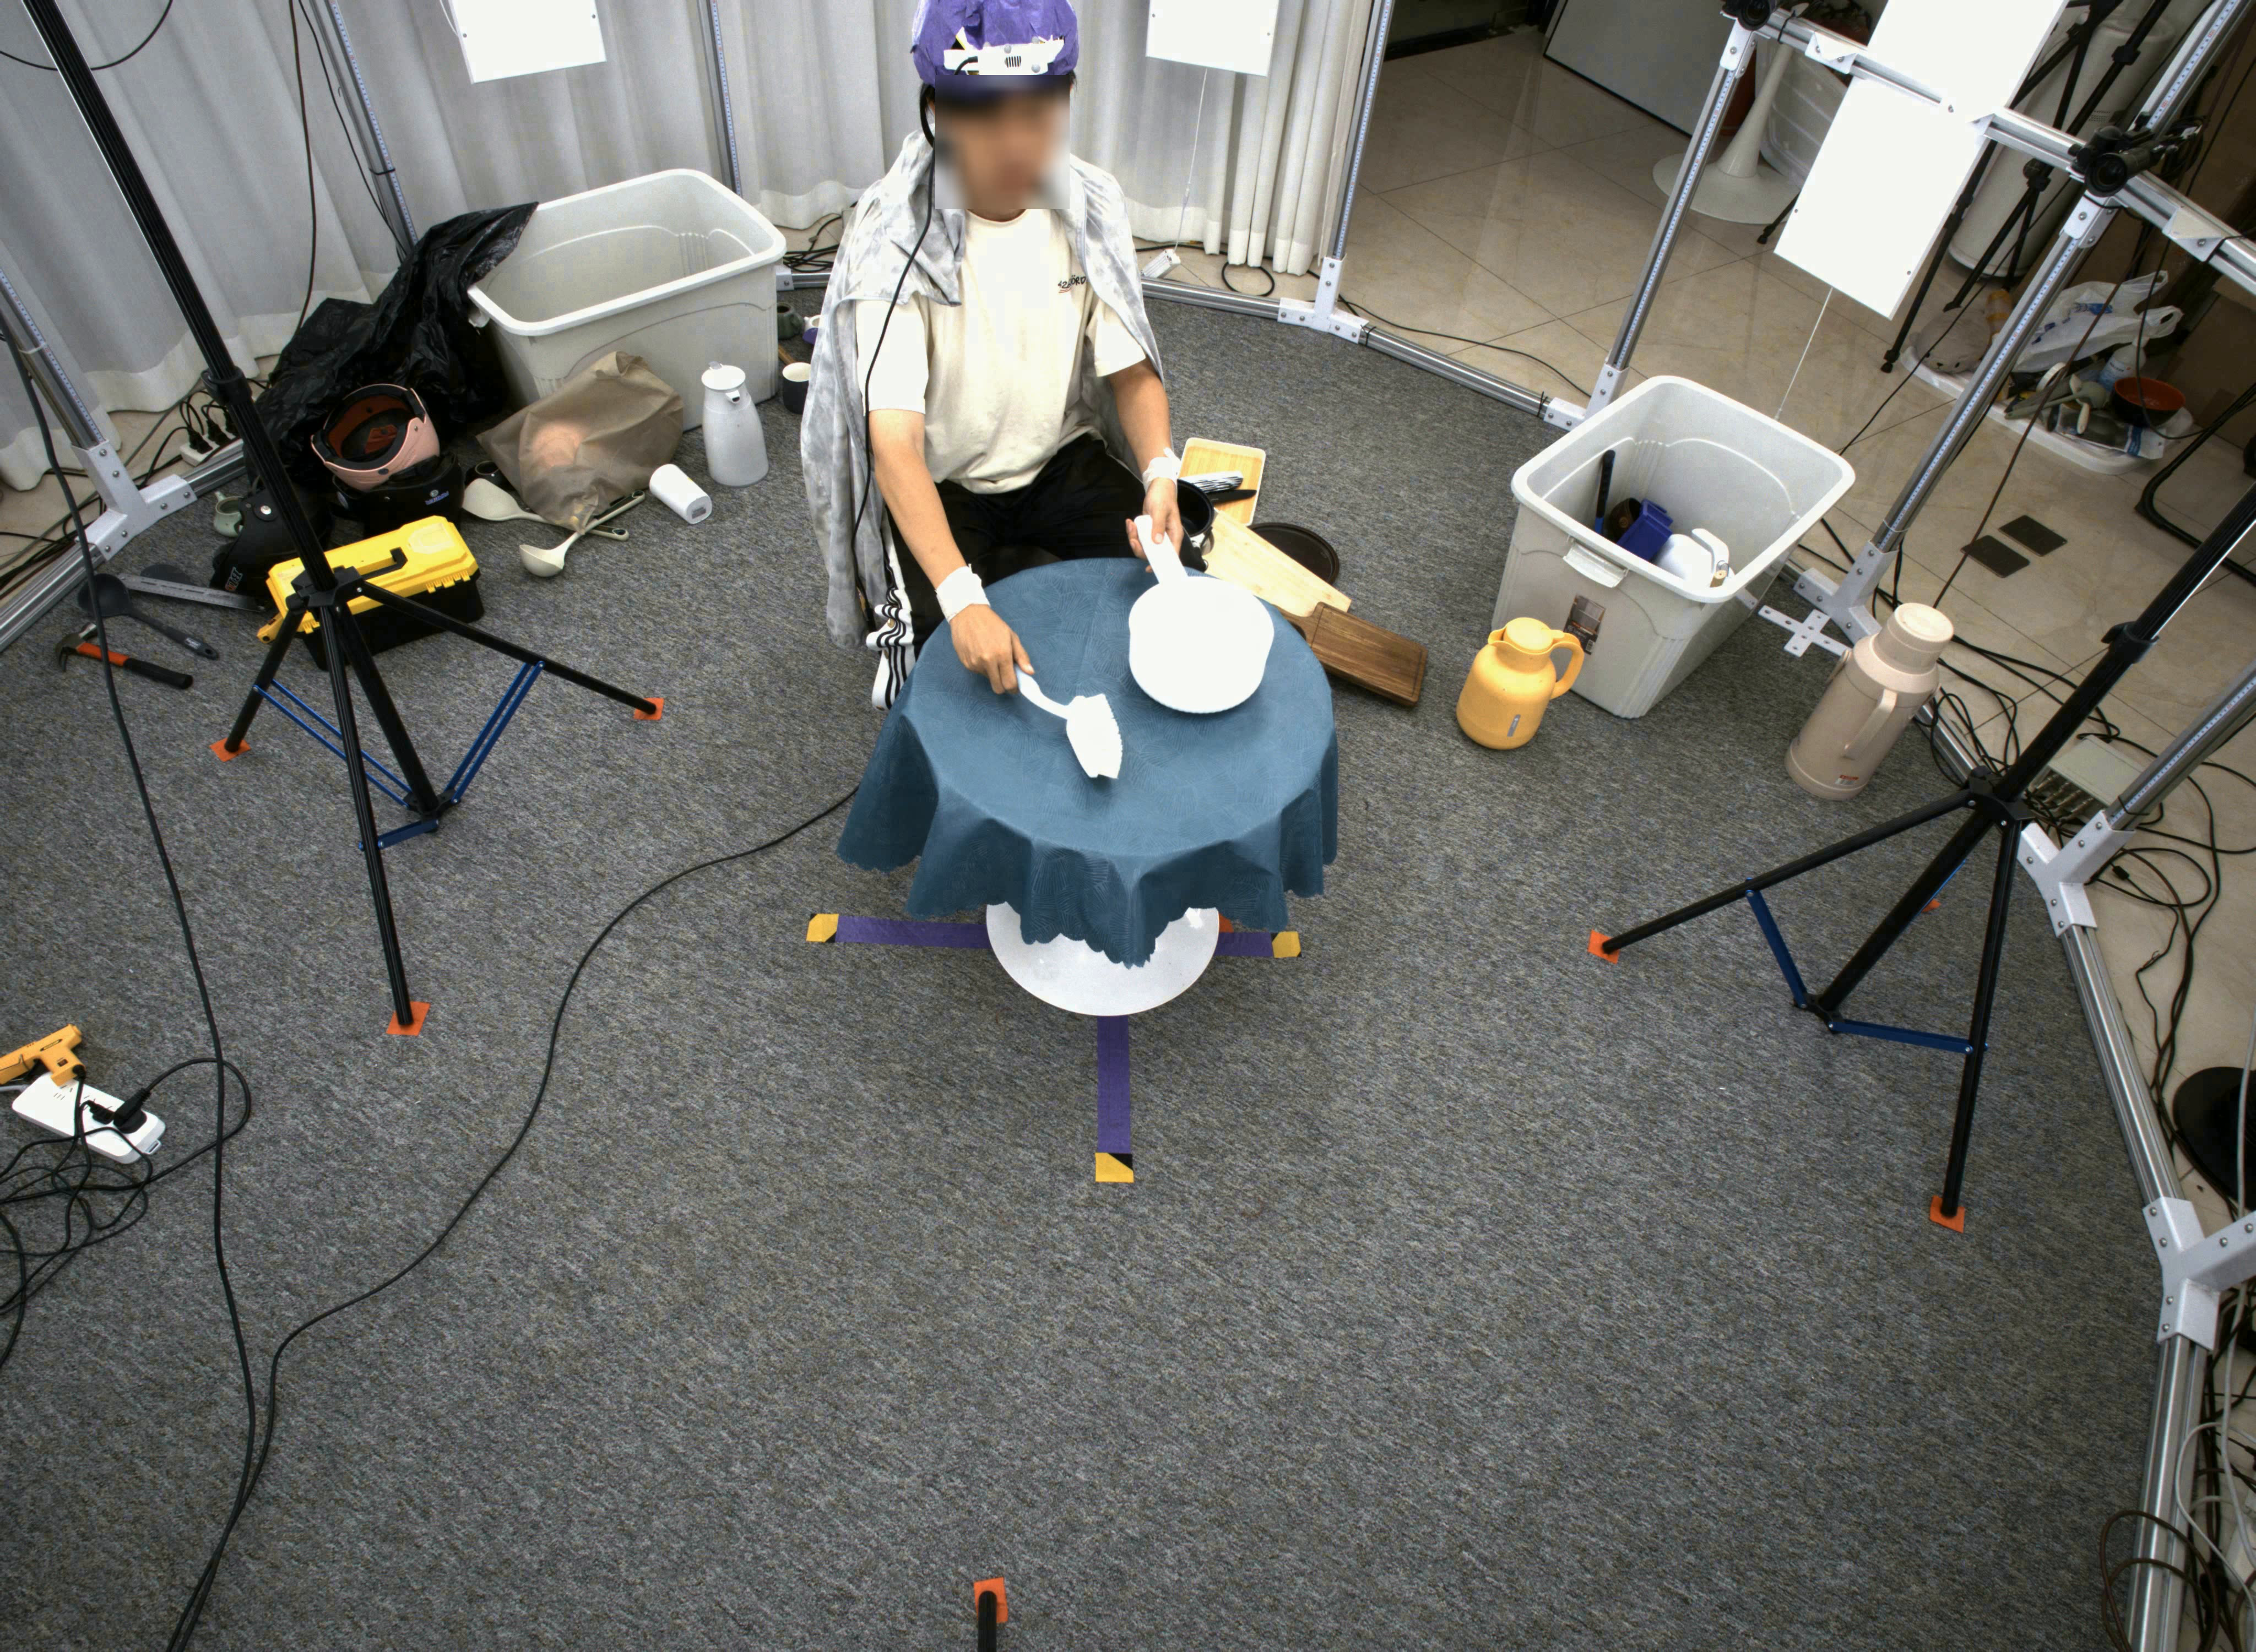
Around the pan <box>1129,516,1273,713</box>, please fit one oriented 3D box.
[{"bbox_3d":[0.077,-0.308,1.872,0.201,0.099,0.363,-11,50,-13],"label":"pan"}]

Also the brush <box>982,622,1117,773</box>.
[{"bbox_3d":[-0.094,-0.188,1.771,0.082,0.083,0.332,-44,54,11],"label":"brush"}]
